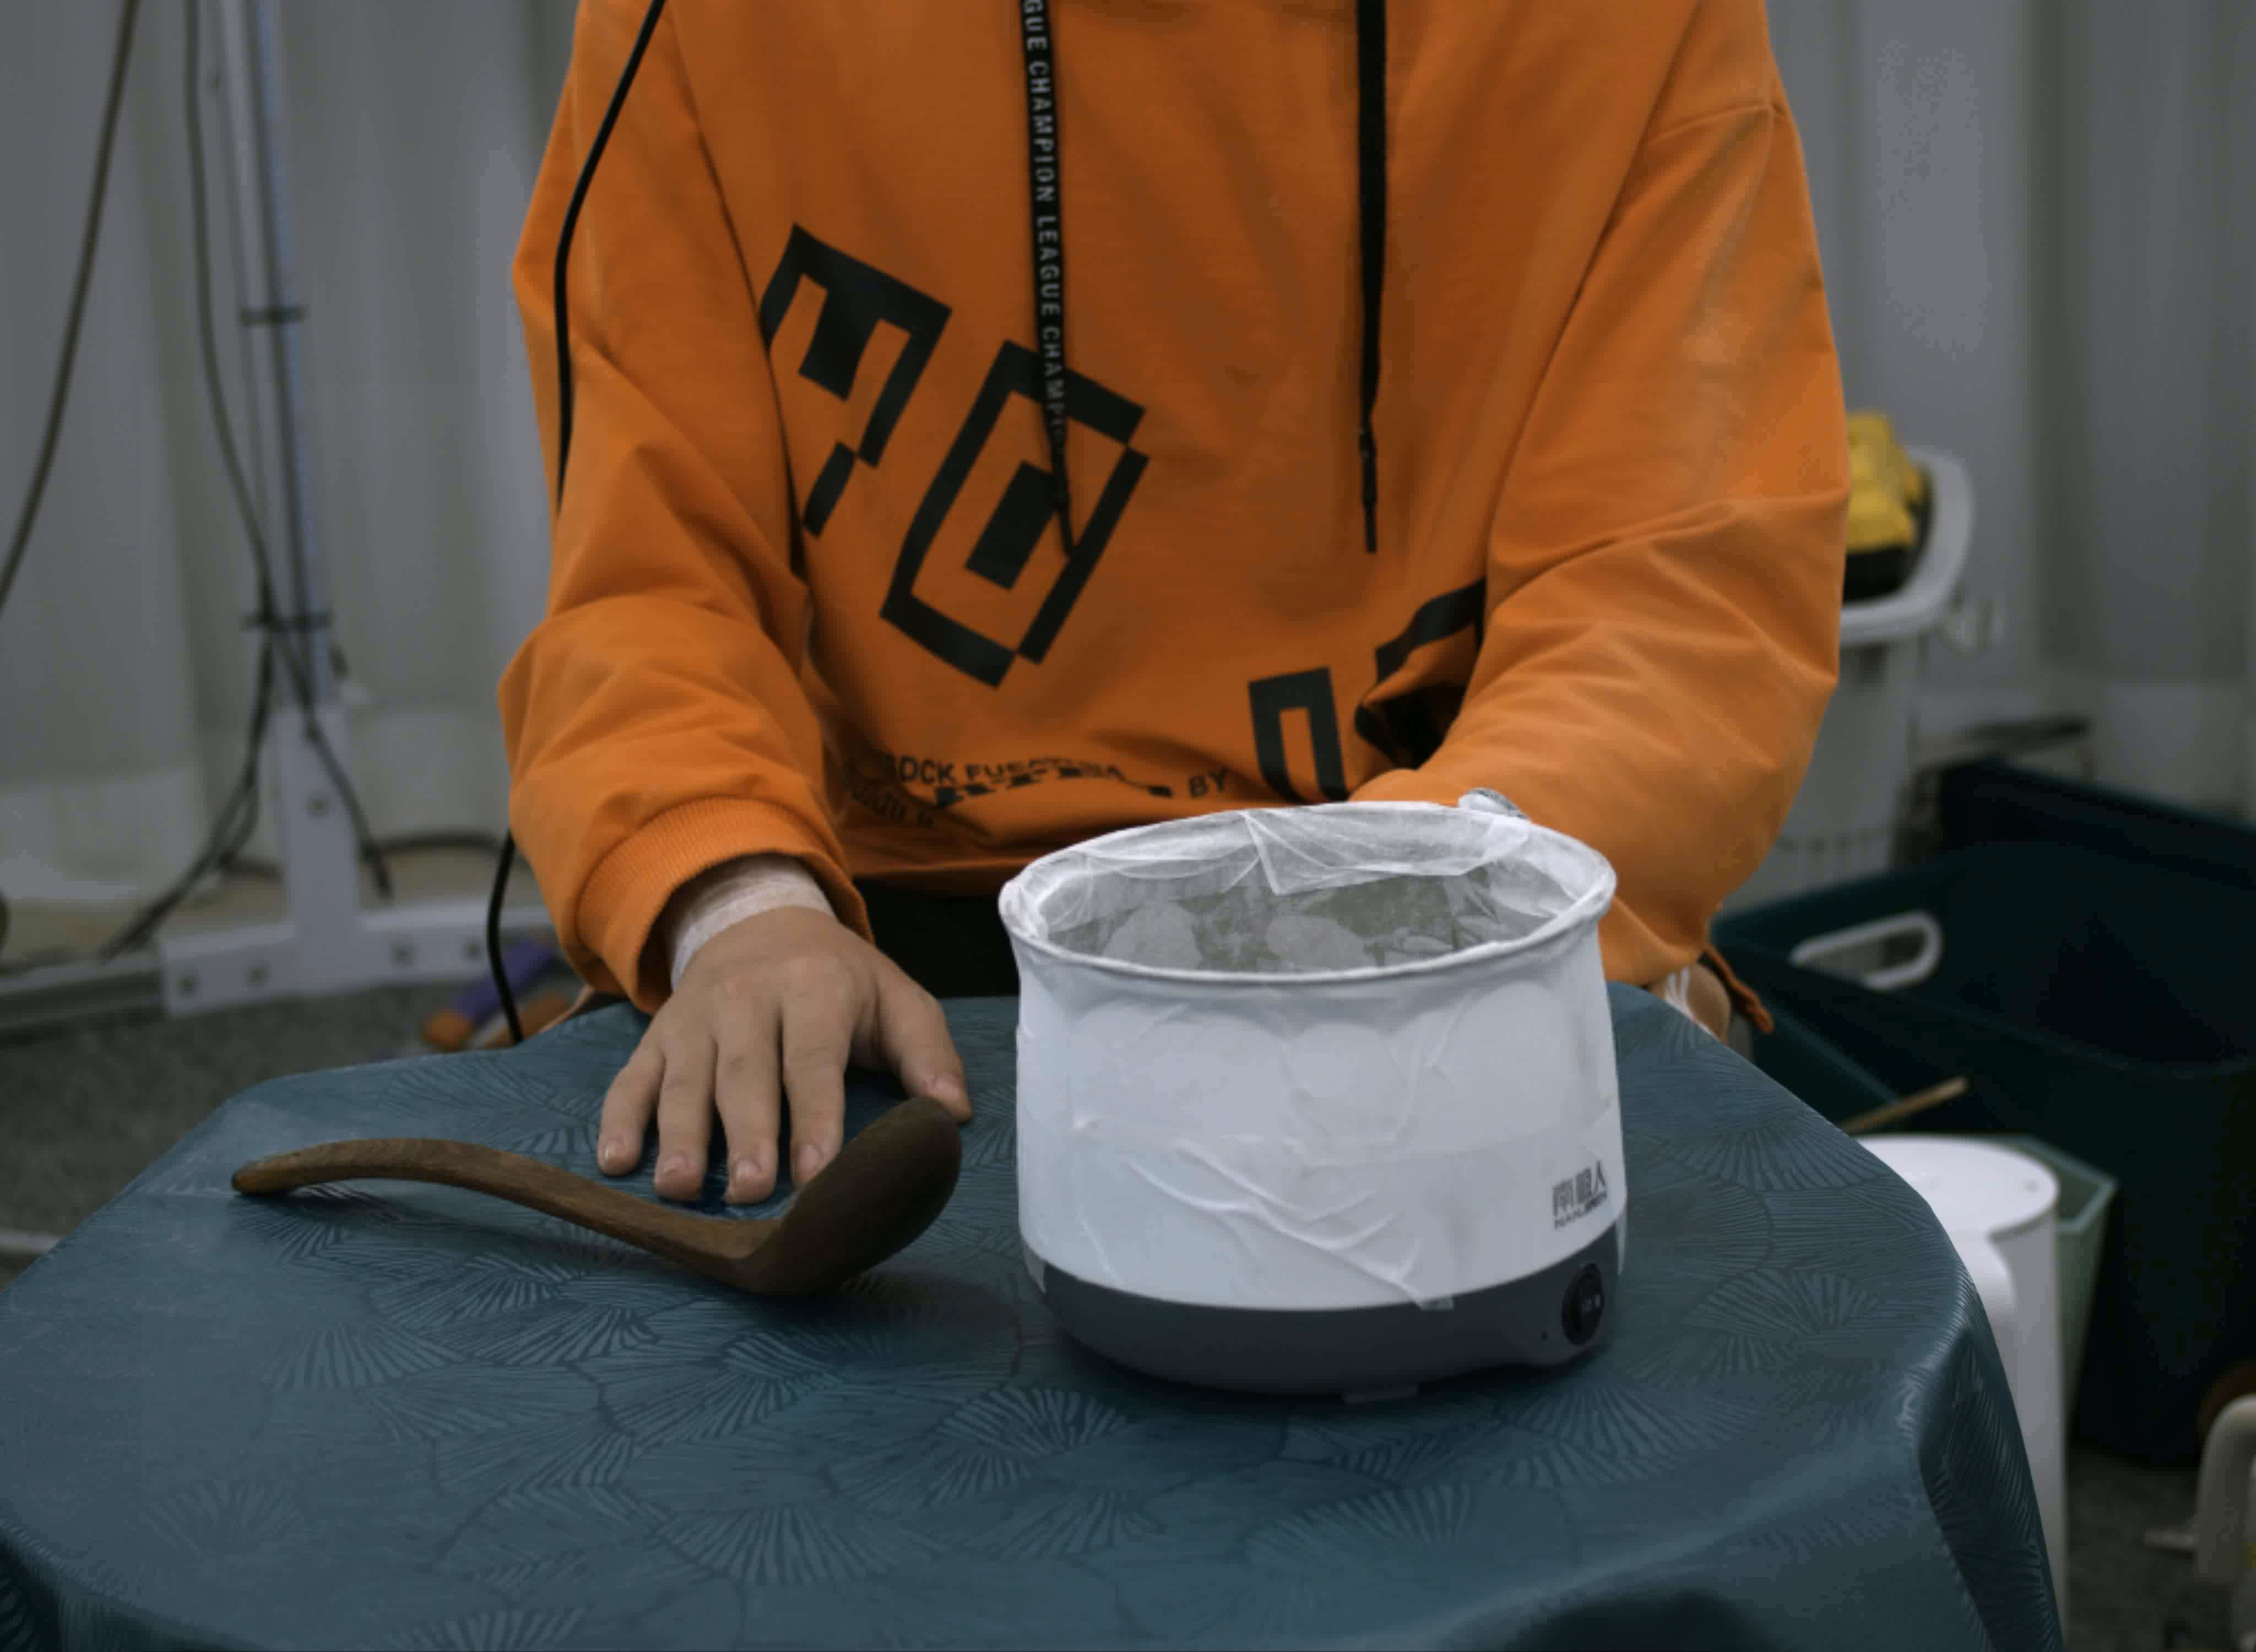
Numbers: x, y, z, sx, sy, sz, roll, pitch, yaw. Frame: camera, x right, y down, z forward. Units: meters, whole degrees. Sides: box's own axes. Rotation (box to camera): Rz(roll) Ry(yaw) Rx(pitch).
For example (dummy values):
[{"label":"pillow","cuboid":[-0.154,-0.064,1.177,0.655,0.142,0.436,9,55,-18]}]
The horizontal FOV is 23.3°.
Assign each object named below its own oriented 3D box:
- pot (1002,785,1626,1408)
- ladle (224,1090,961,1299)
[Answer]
[{"label":"pot","cuboid":[0.069,0.071,1.599,0.179,0.136,0.234,7,18,32]},{"label":"ladle","cuboid":[-0.171,0.097,1.679,0.275,0.071,0.076,8,14,34]}]
